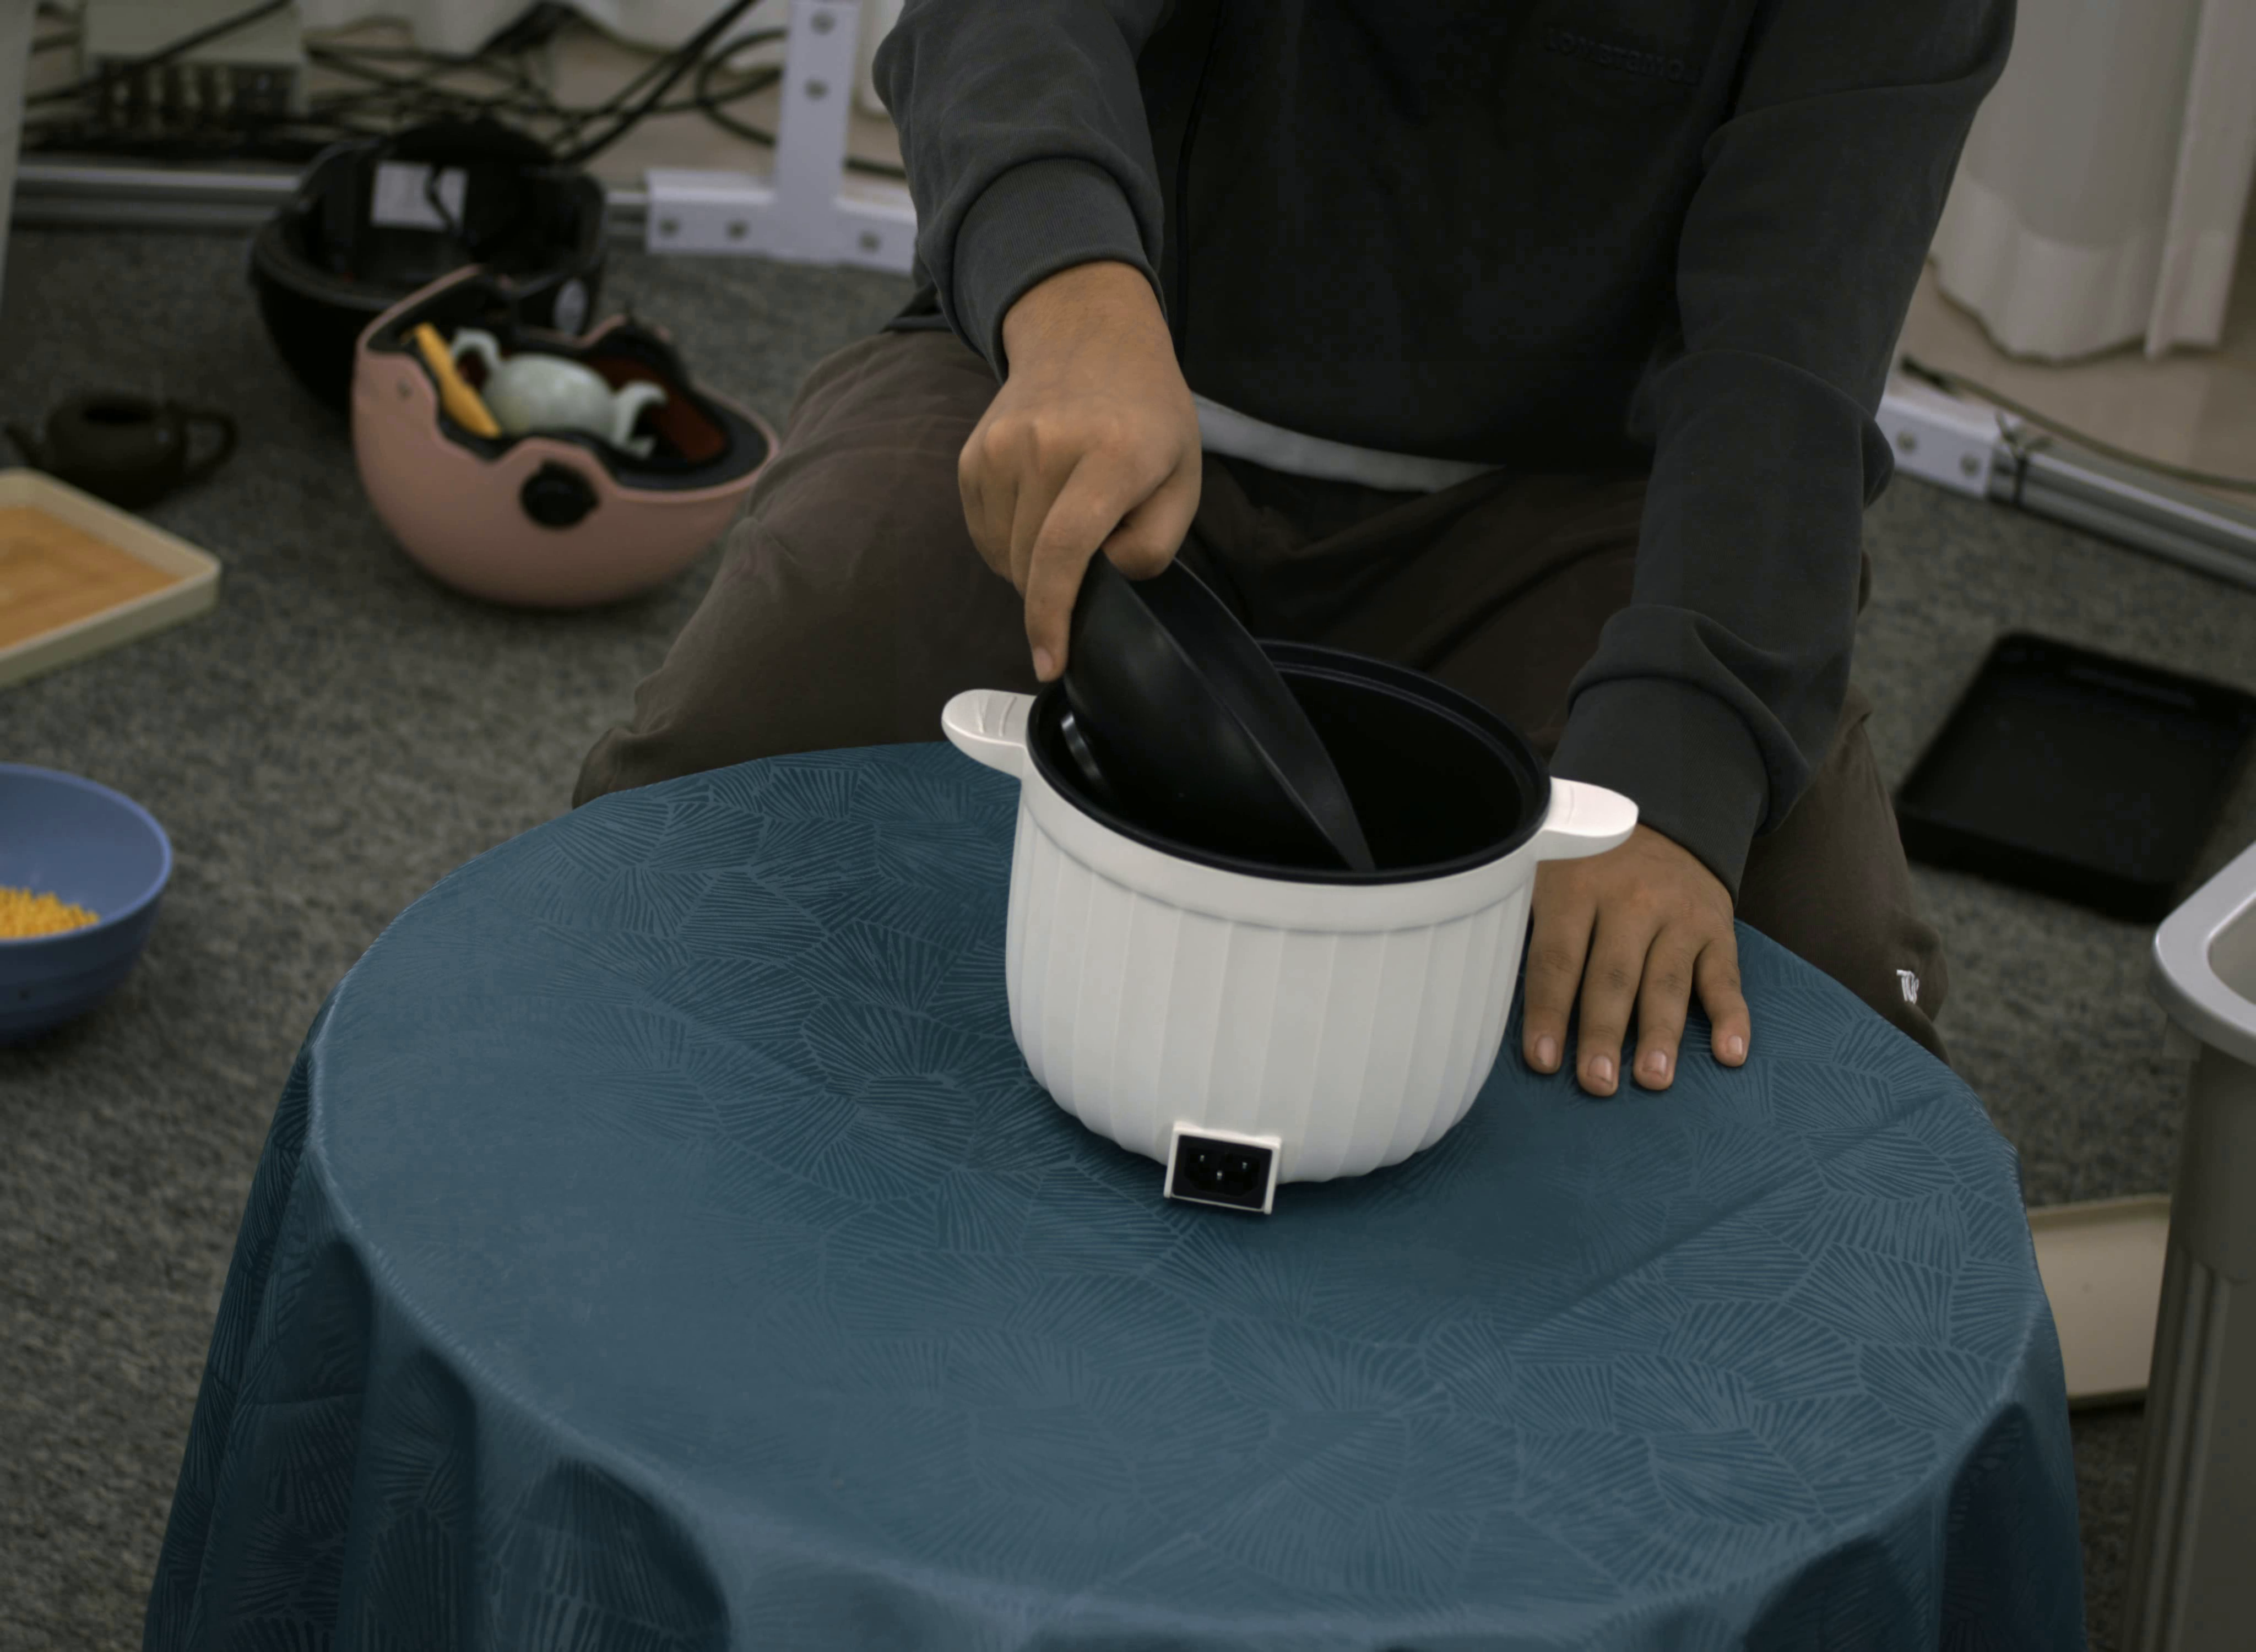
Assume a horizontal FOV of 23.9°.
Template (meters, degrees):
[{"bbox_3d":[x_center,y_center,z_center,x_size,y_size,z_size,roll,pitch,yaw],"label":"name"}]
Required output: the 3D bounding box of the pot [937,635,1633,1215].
[{"bbox_3d":[0.046,0.031,1.848,0.240,0.142,0.191,9,30,2],"label":"pot"}]

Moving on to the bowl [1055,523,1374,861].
[{"bbox_3d":[0.022,-0.024,1.822,0.066,0.169,0.138,-34,20,9],"label":"bowl"}]
